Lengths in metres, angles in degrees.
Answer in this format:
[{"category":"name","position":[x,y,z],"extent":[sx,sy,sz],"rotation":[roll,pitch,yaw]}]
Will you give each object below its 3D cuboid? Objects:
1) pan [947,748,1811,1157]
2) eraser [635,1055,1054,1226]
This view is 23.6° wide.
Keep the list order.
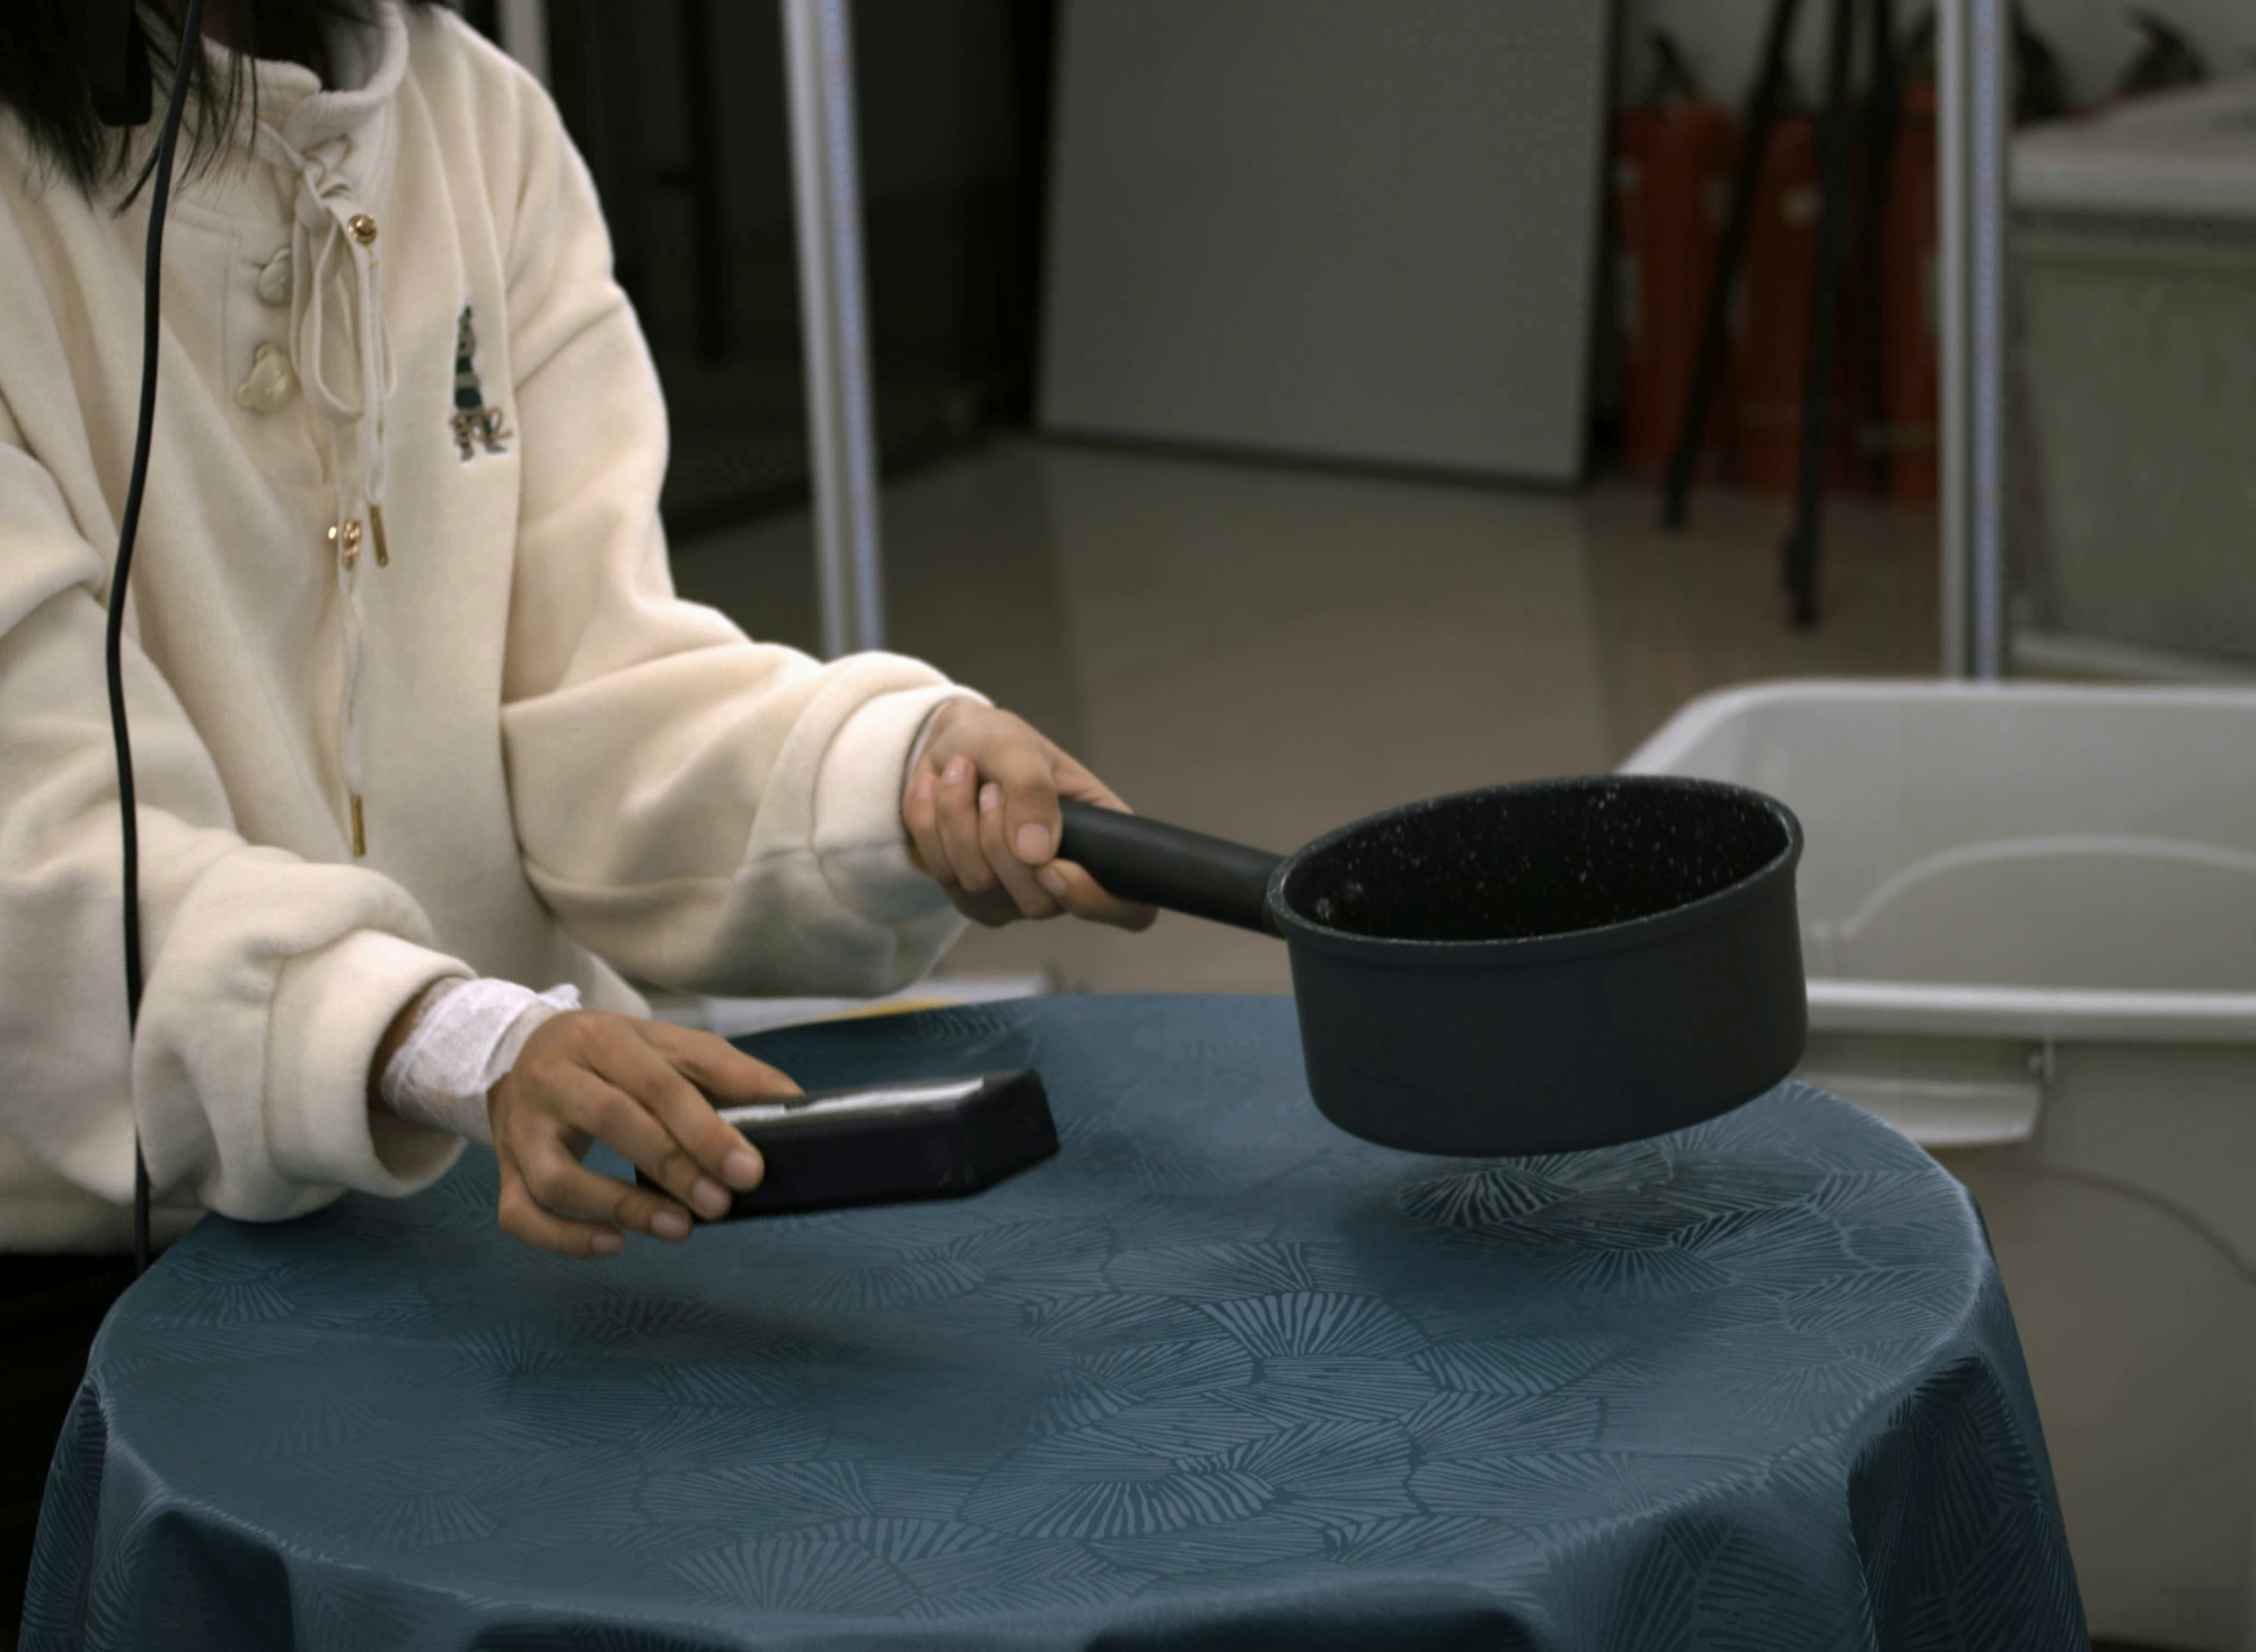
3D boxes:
[{"category":"pan","position":[0.073,0.032,1.768],"extent":[0.331,0.087,0.169],"rotation":[7,23,40]},{"category":"eraser","position":[-0.085,0.095,1.640],"extent":[0.126,0.031,0.052],"rotation":[-11,7,33]}]
